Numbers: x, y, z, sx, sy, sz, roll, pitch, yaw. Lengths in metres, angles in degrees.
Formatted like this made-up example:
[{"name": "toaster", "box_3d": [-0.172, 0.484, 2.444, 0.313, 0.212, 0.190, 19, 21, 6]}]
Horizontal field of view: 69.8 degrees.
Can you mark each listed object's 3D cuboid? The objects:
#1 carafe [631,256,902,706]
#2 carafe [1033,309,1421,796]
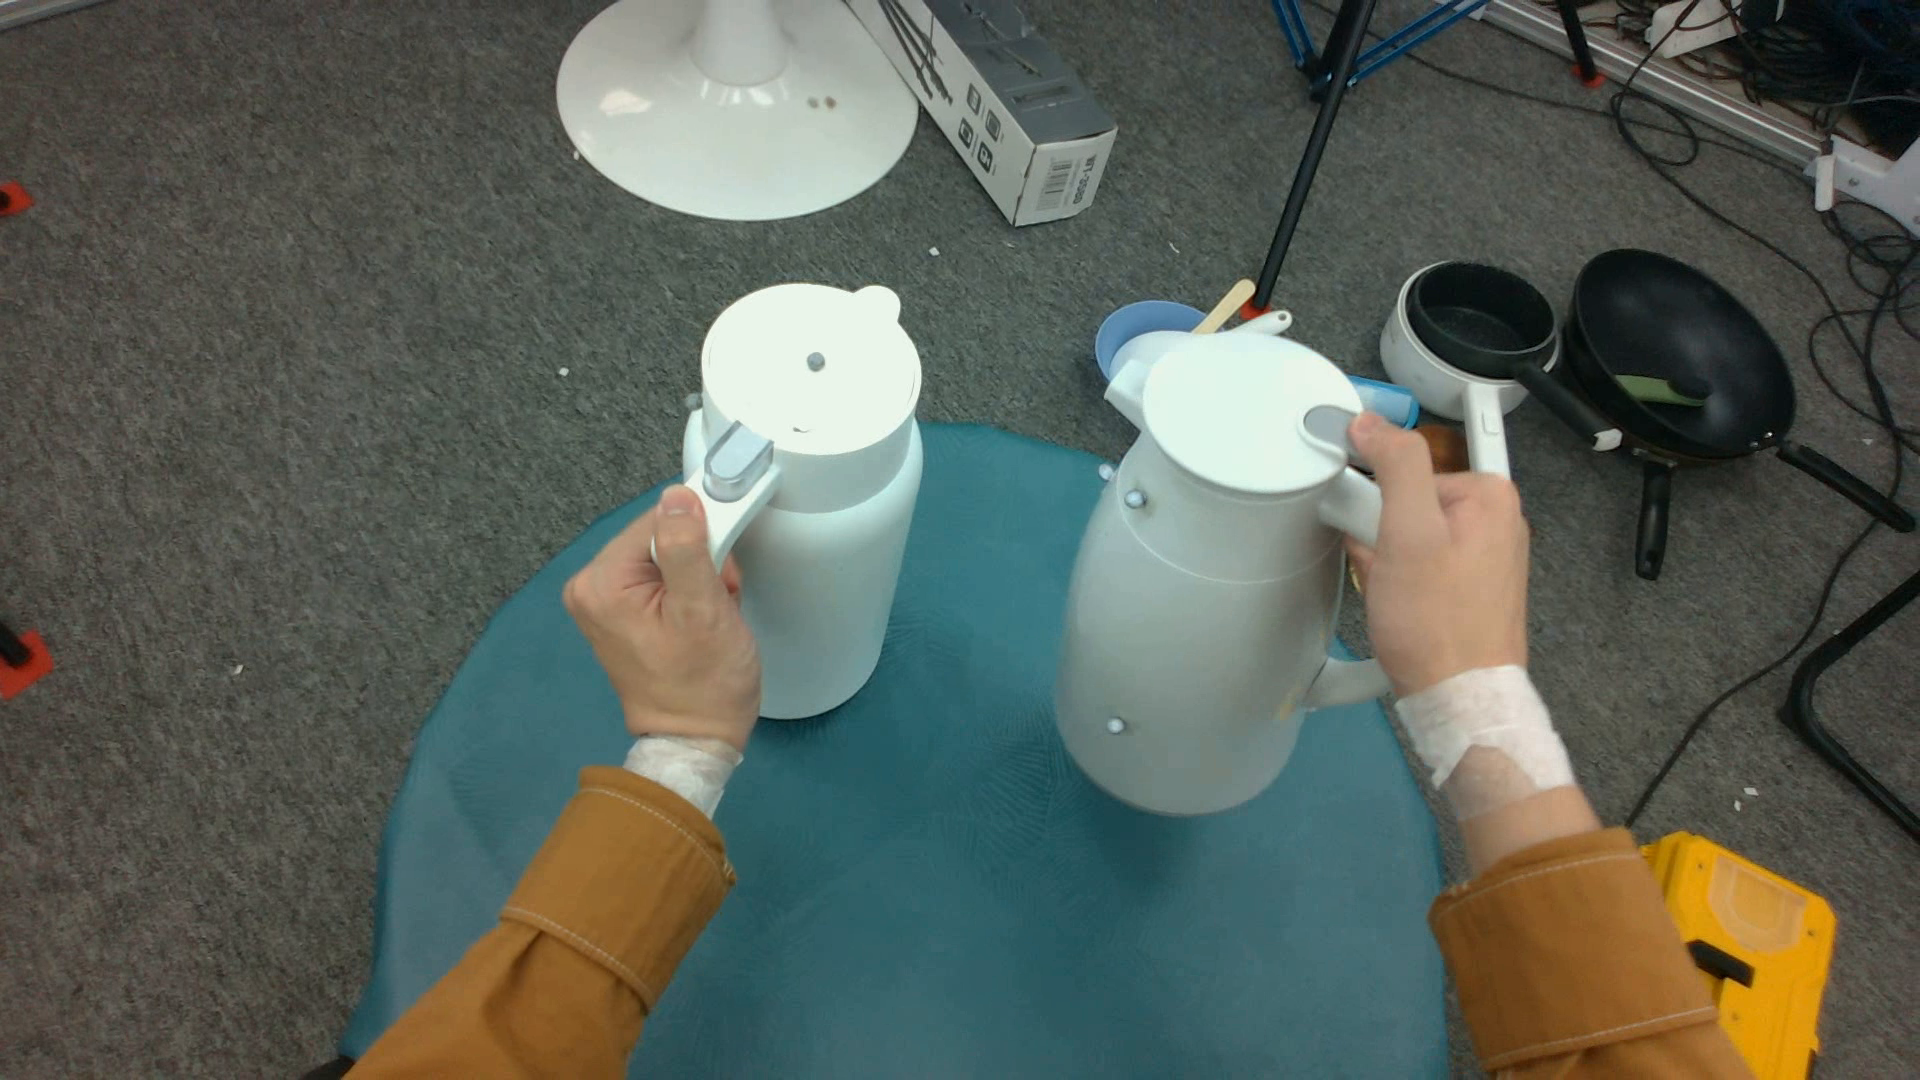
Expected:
[{"name": "carafe", "box_3d": [-0.104, -0.006, 0.714, 0.124, 0.267, 0.173, 30, 58, 5]}, {"name": "carafe", "box_3d": [0.125, 0.014, 0.652, 0.167, 0.247, 0.133, 27, 56, 17]}]
